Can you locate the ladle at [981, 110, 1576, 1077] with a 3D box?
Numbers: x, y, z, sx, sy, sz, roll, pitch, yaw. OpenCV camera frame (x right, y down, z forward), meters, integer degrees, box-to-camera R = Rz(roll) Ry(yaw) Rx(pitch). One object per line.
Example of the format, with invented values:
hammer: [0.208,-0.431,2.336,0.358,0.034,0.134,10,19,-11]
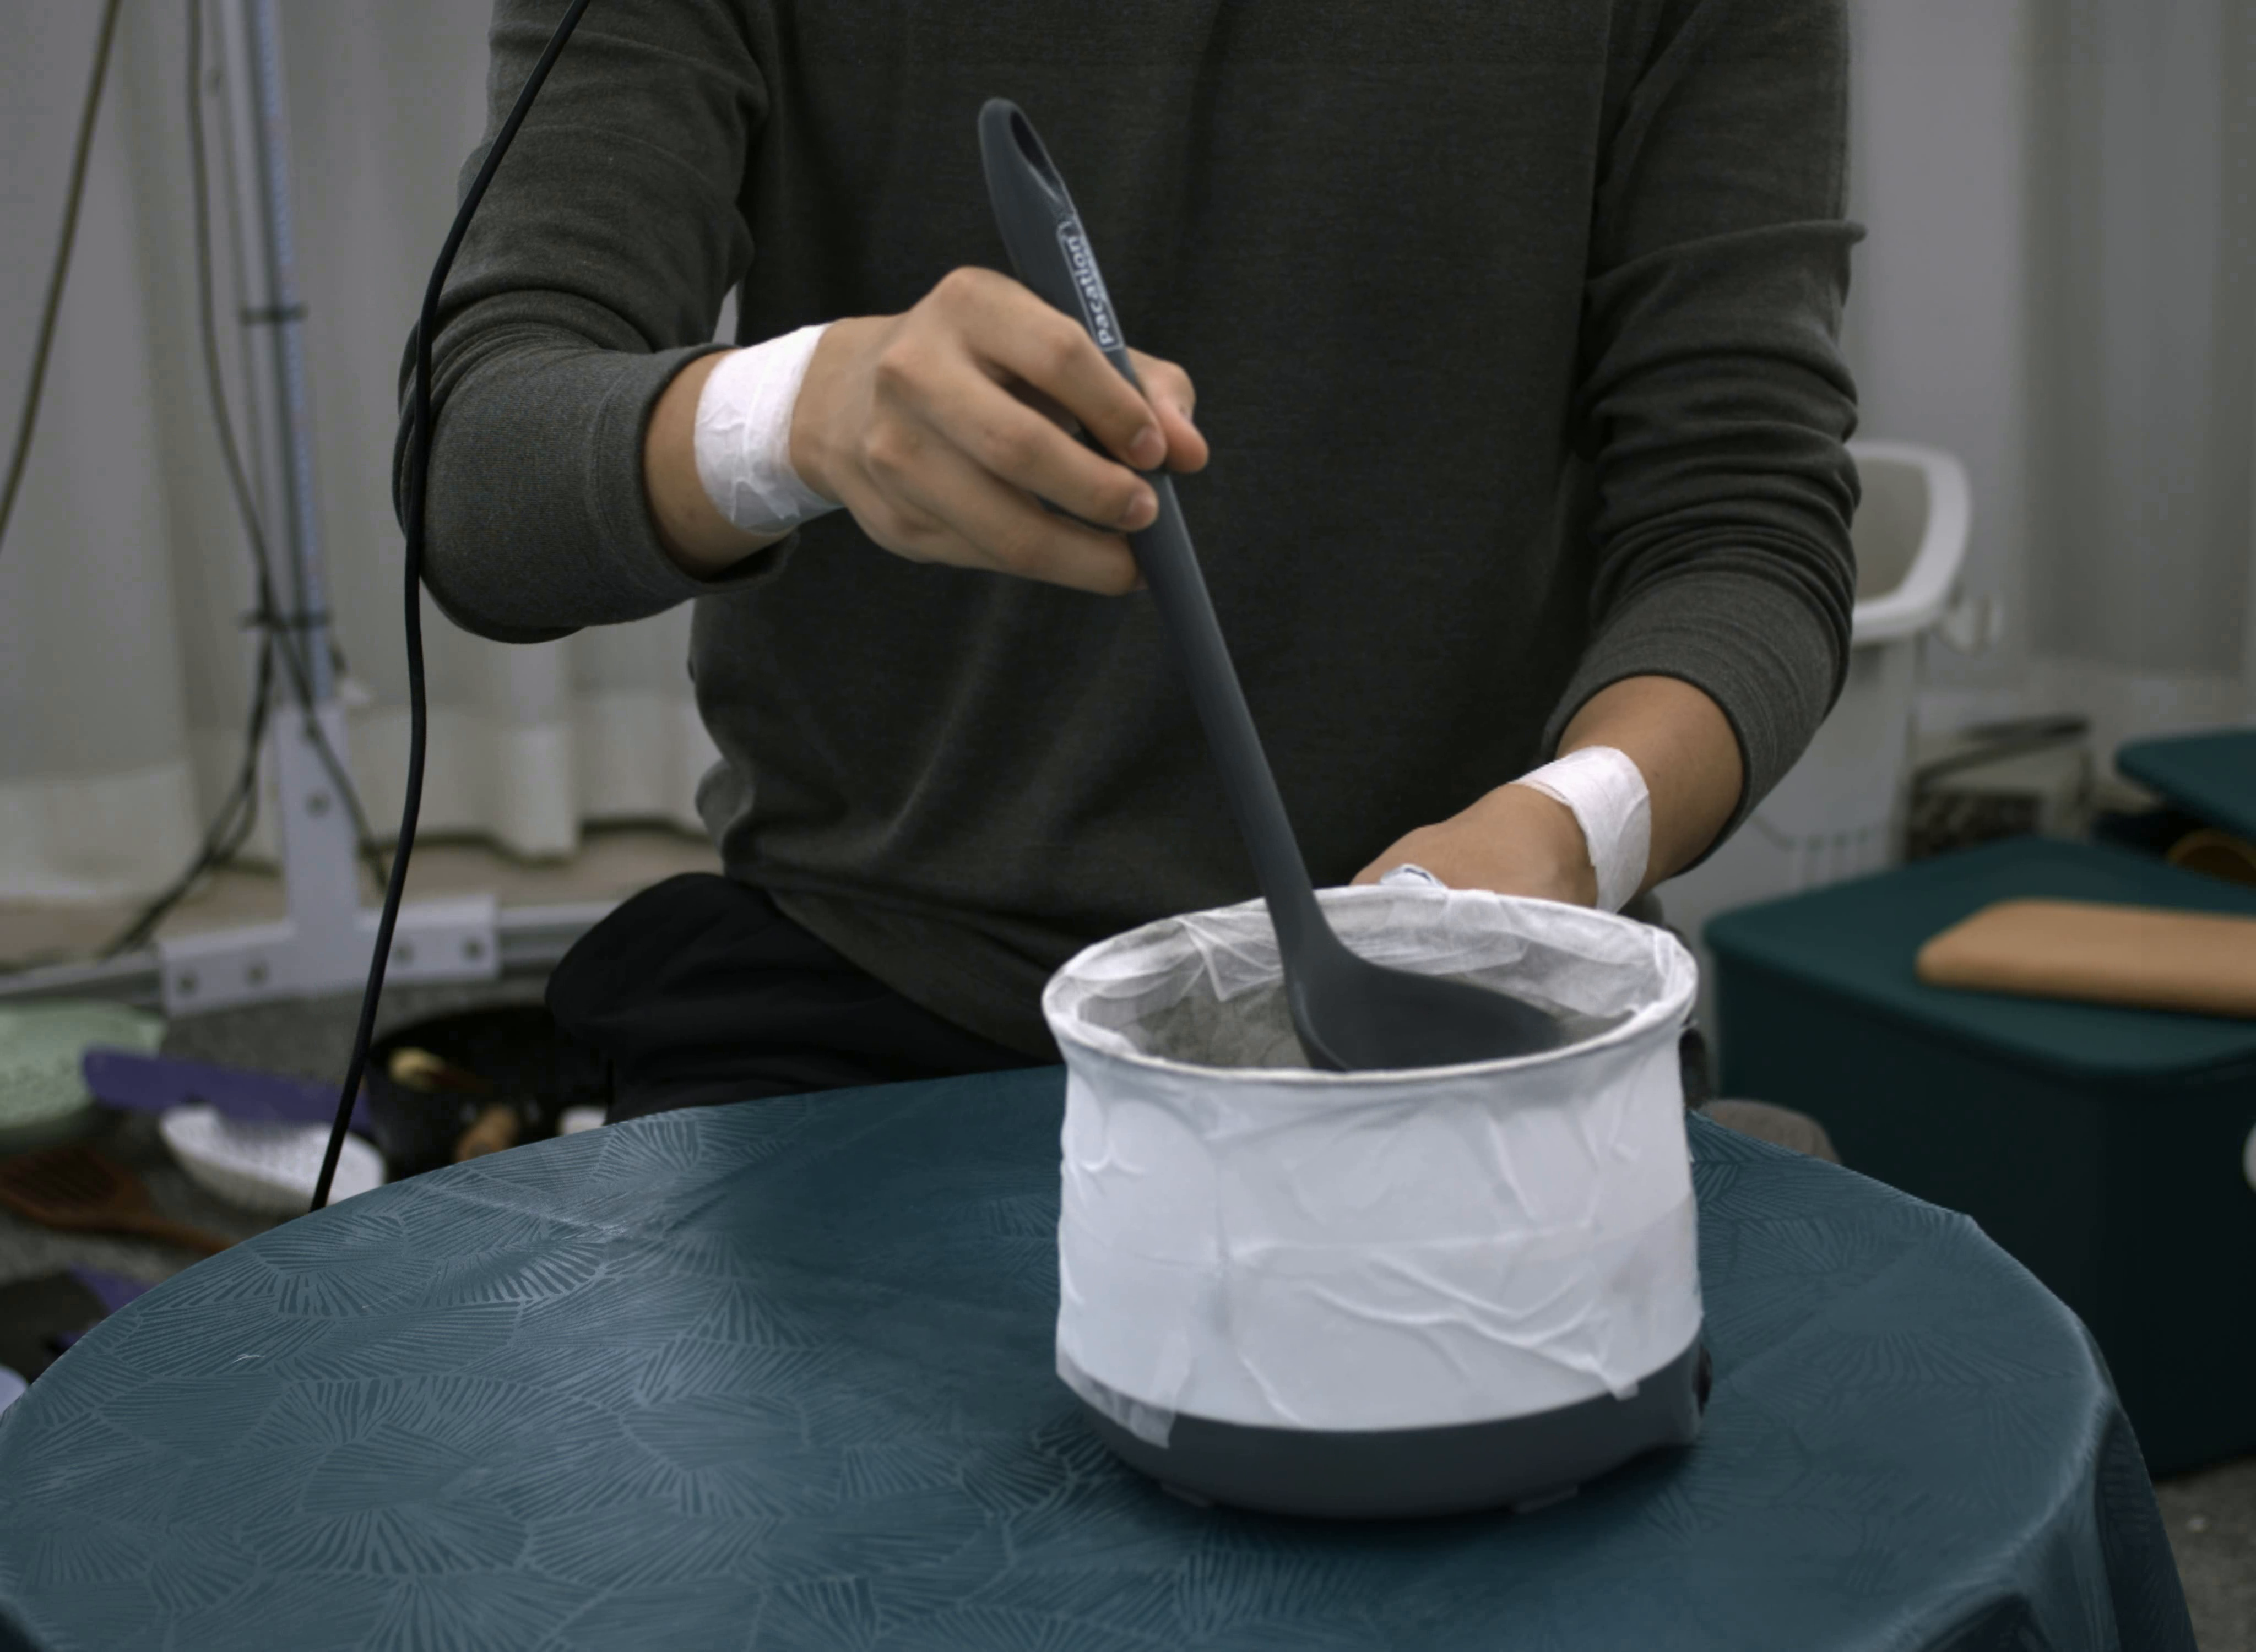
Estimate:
ladle: [0.037,-0.055,1.486,0.064,0.315,0.086,-22,-2,31]

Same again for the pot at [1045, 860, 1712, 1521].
pot: [0.072,0.095,1.512,0.178,0.136,0.235,0,15,9]
